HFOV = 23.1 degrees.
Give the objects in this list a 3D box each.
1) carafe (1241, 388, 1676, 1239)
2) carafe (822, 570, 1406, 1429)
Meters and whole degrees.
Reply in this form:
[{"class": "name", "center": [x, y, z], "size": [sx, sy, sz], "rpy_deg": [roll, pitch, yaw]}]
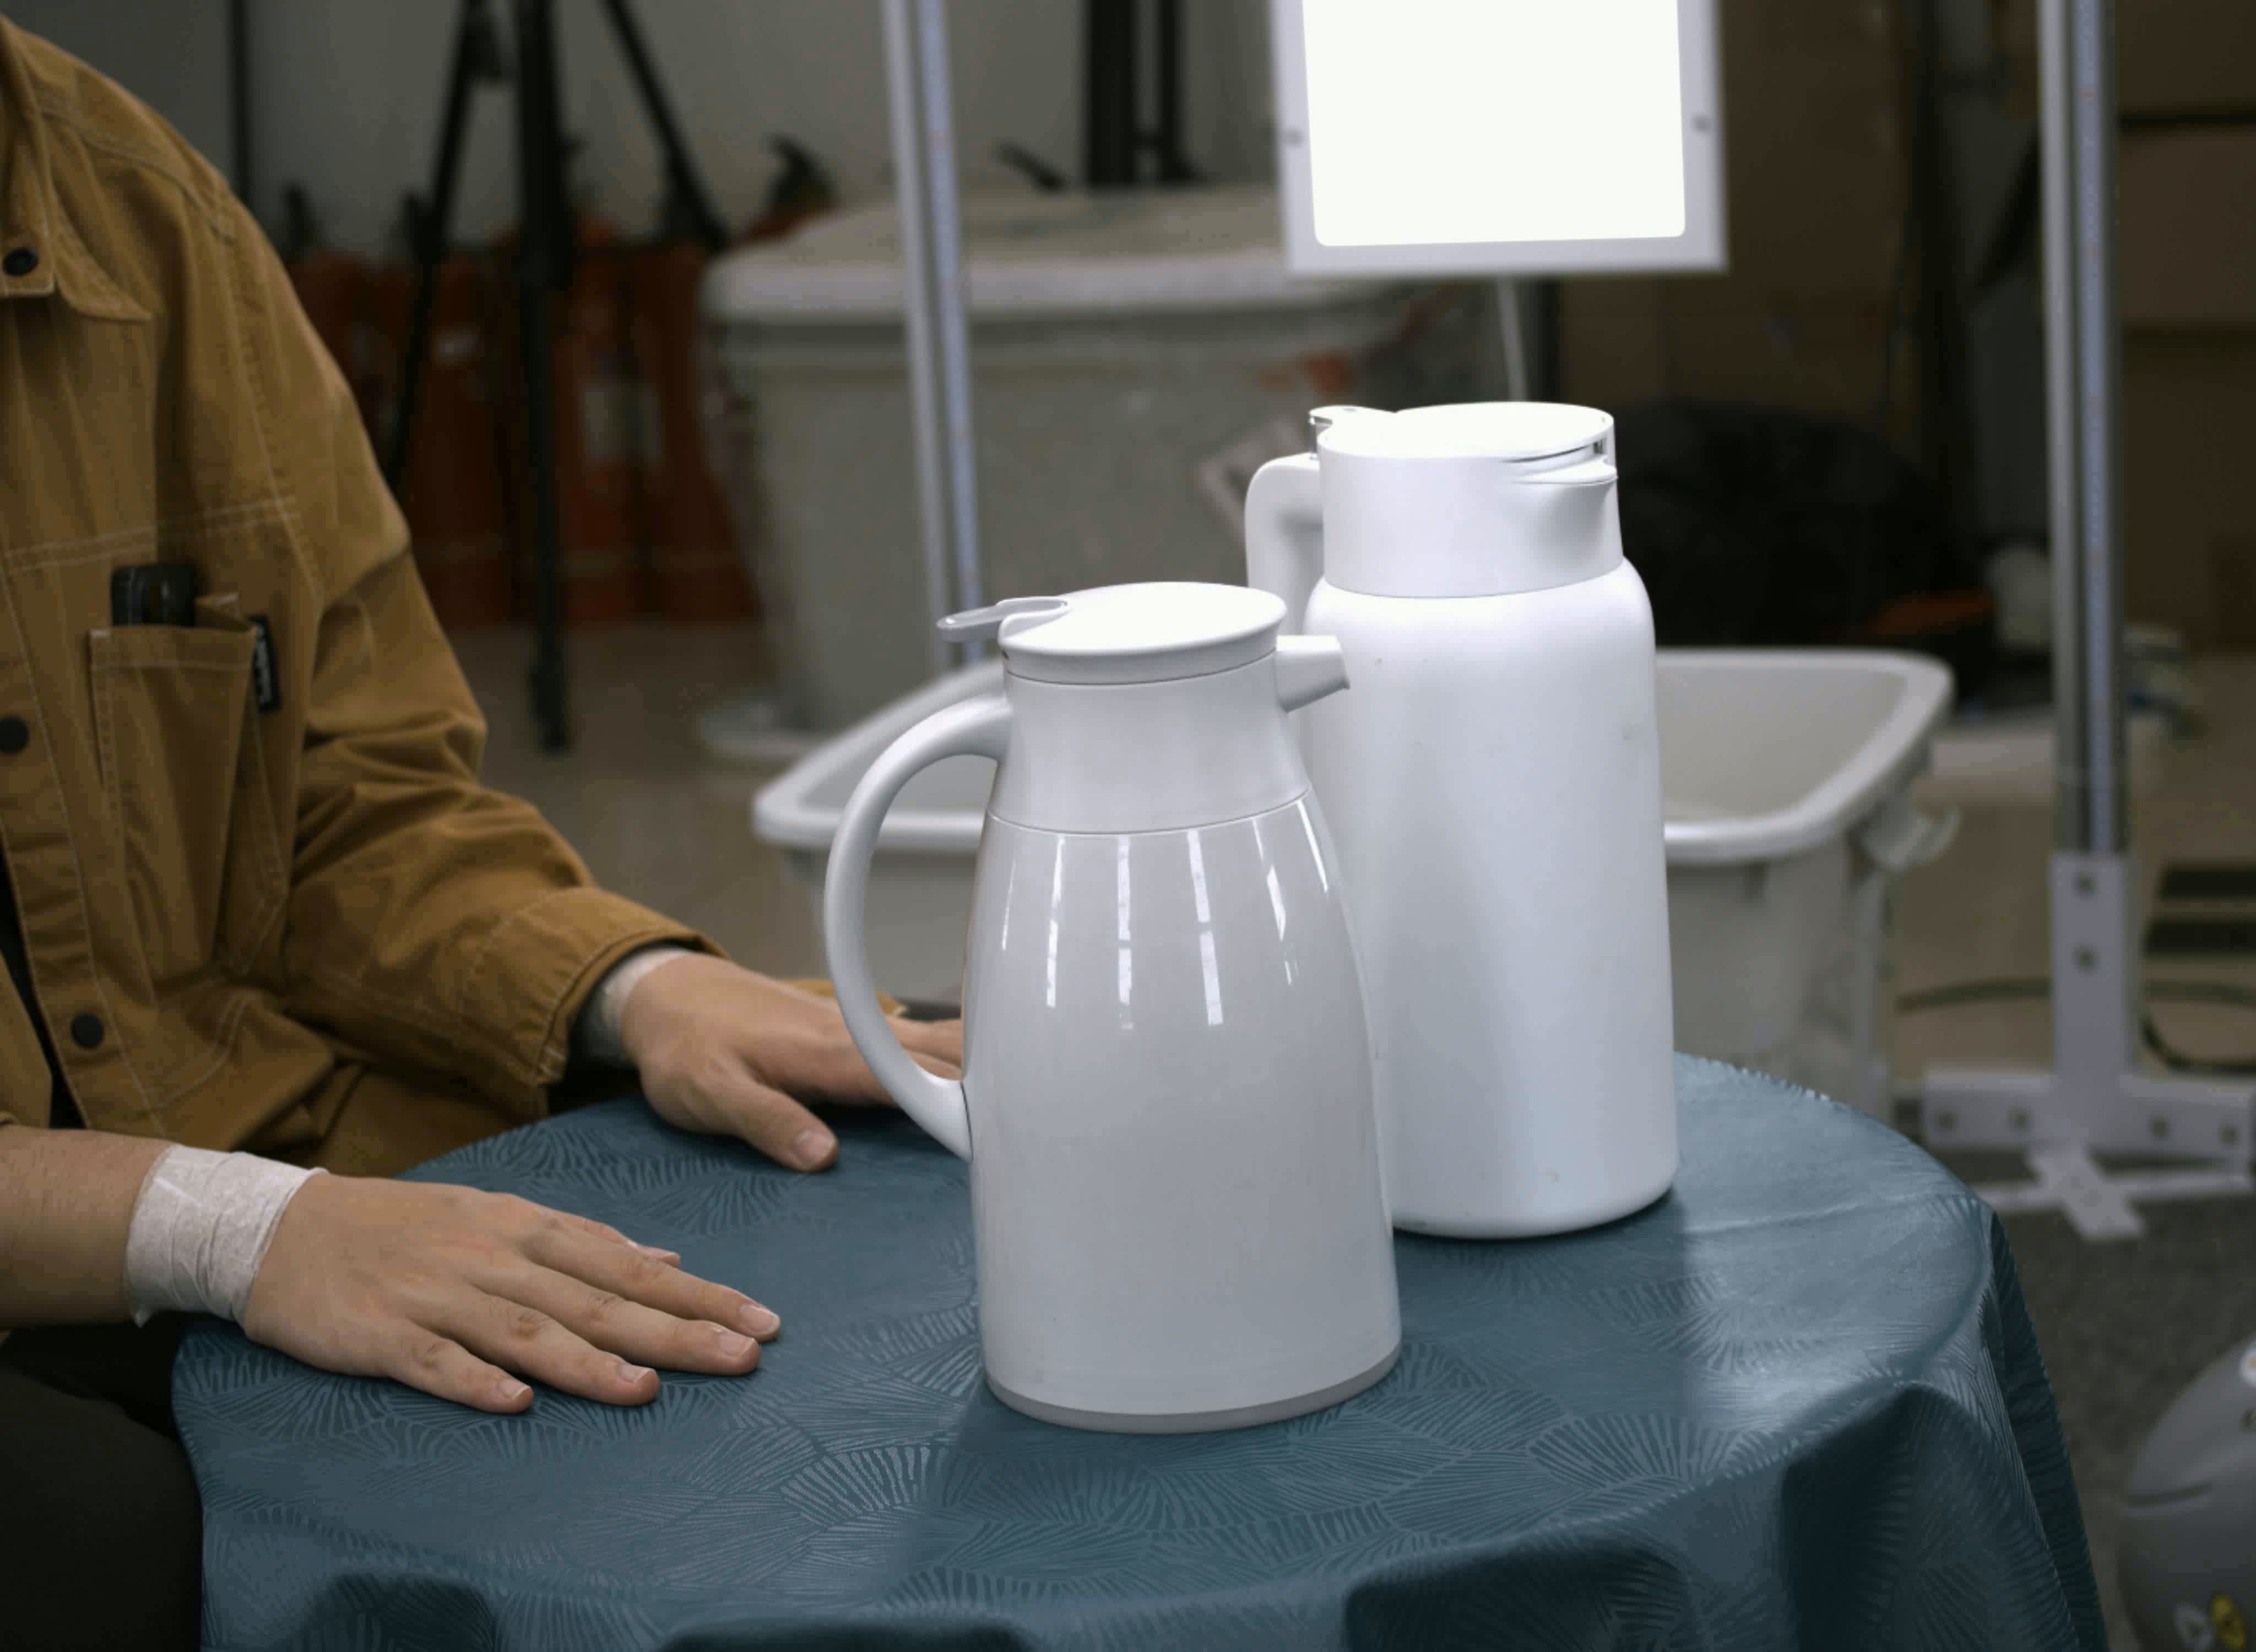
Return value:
[{"class": "carafe", "center": [0.107, -0.007, 1.839], "size": [0.121, 0.270, 0.176], "rpy_deg": [-17, 18, -35]}, {"class": "carafe", "center": [-0.008, 0.049, 1.691], "size": [0.167, 0.249, 0.132], "rpy_deg": [-6, 14, -1]}]
